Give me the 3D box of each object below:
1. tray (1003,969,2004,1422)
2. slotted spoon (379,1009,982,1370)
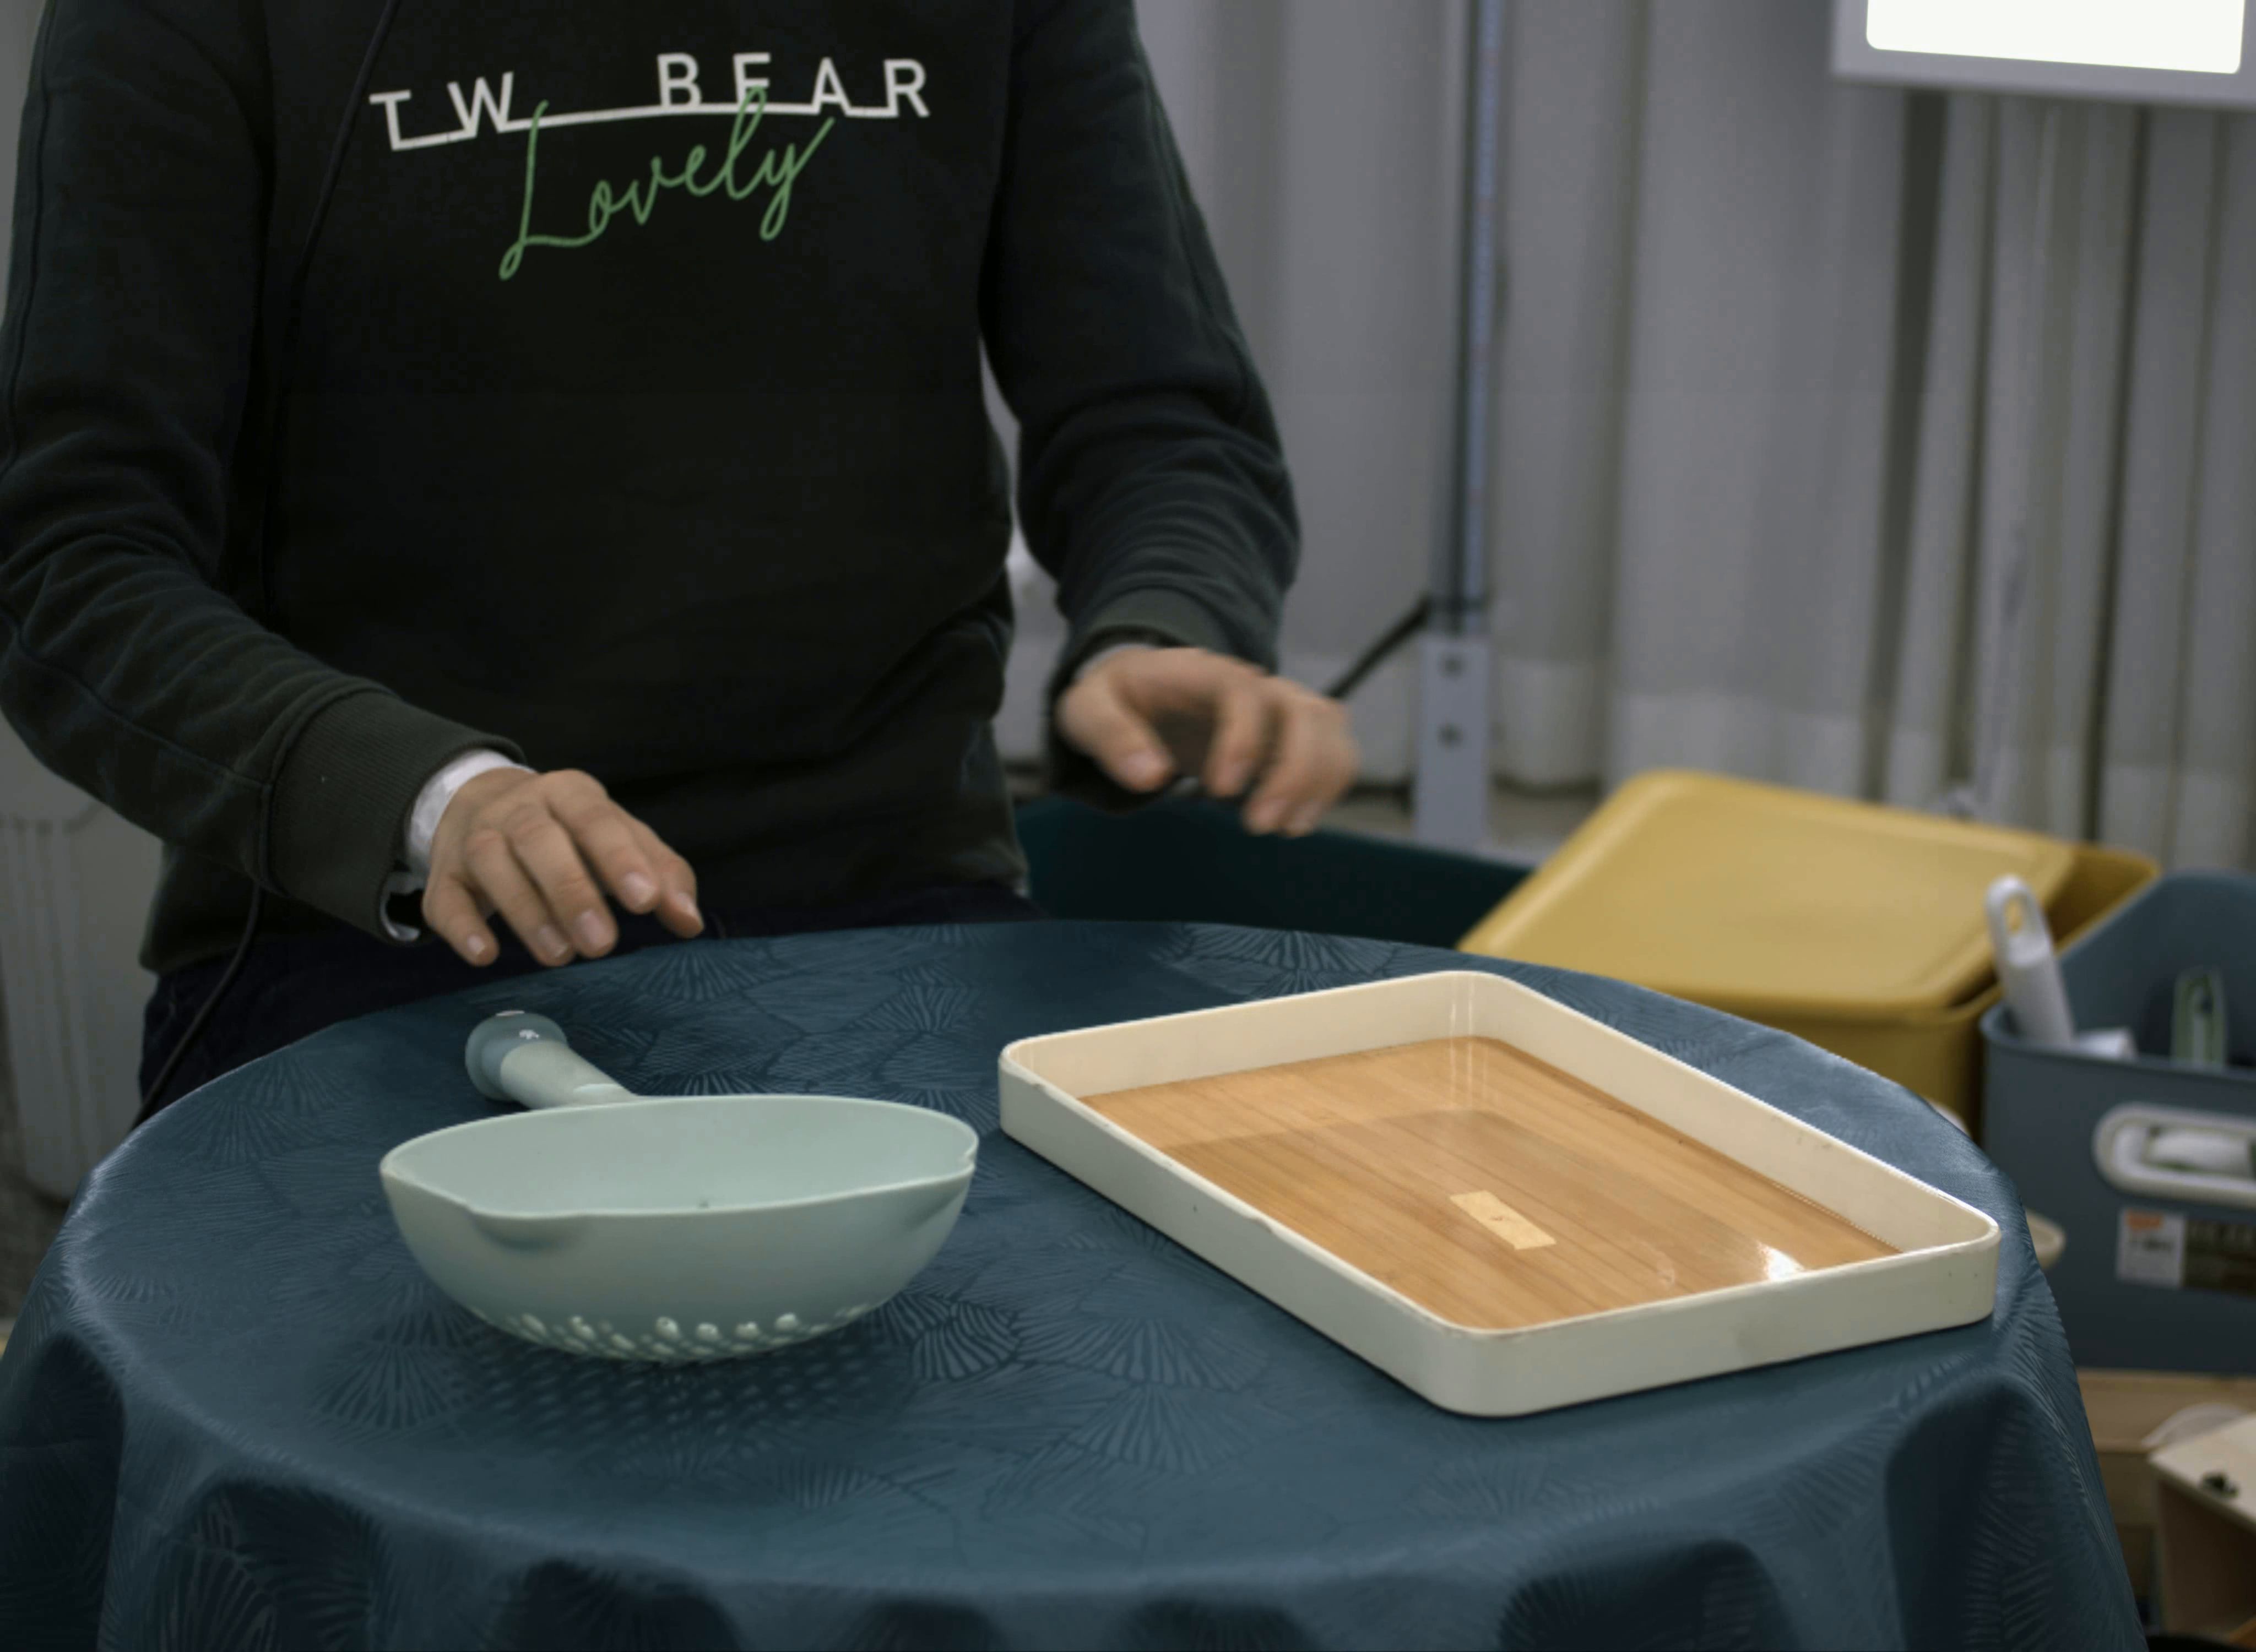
[{"bbox_3d":[0.107,0.107,1.604,0.192,0.027,0.296,-8,18,-27],"label":"tray"},{"bbox_3d":[-0.154,0.092,1.573,0.170,0.076,0.355,-3,16,-17],"label":"slotted spoon"}]
